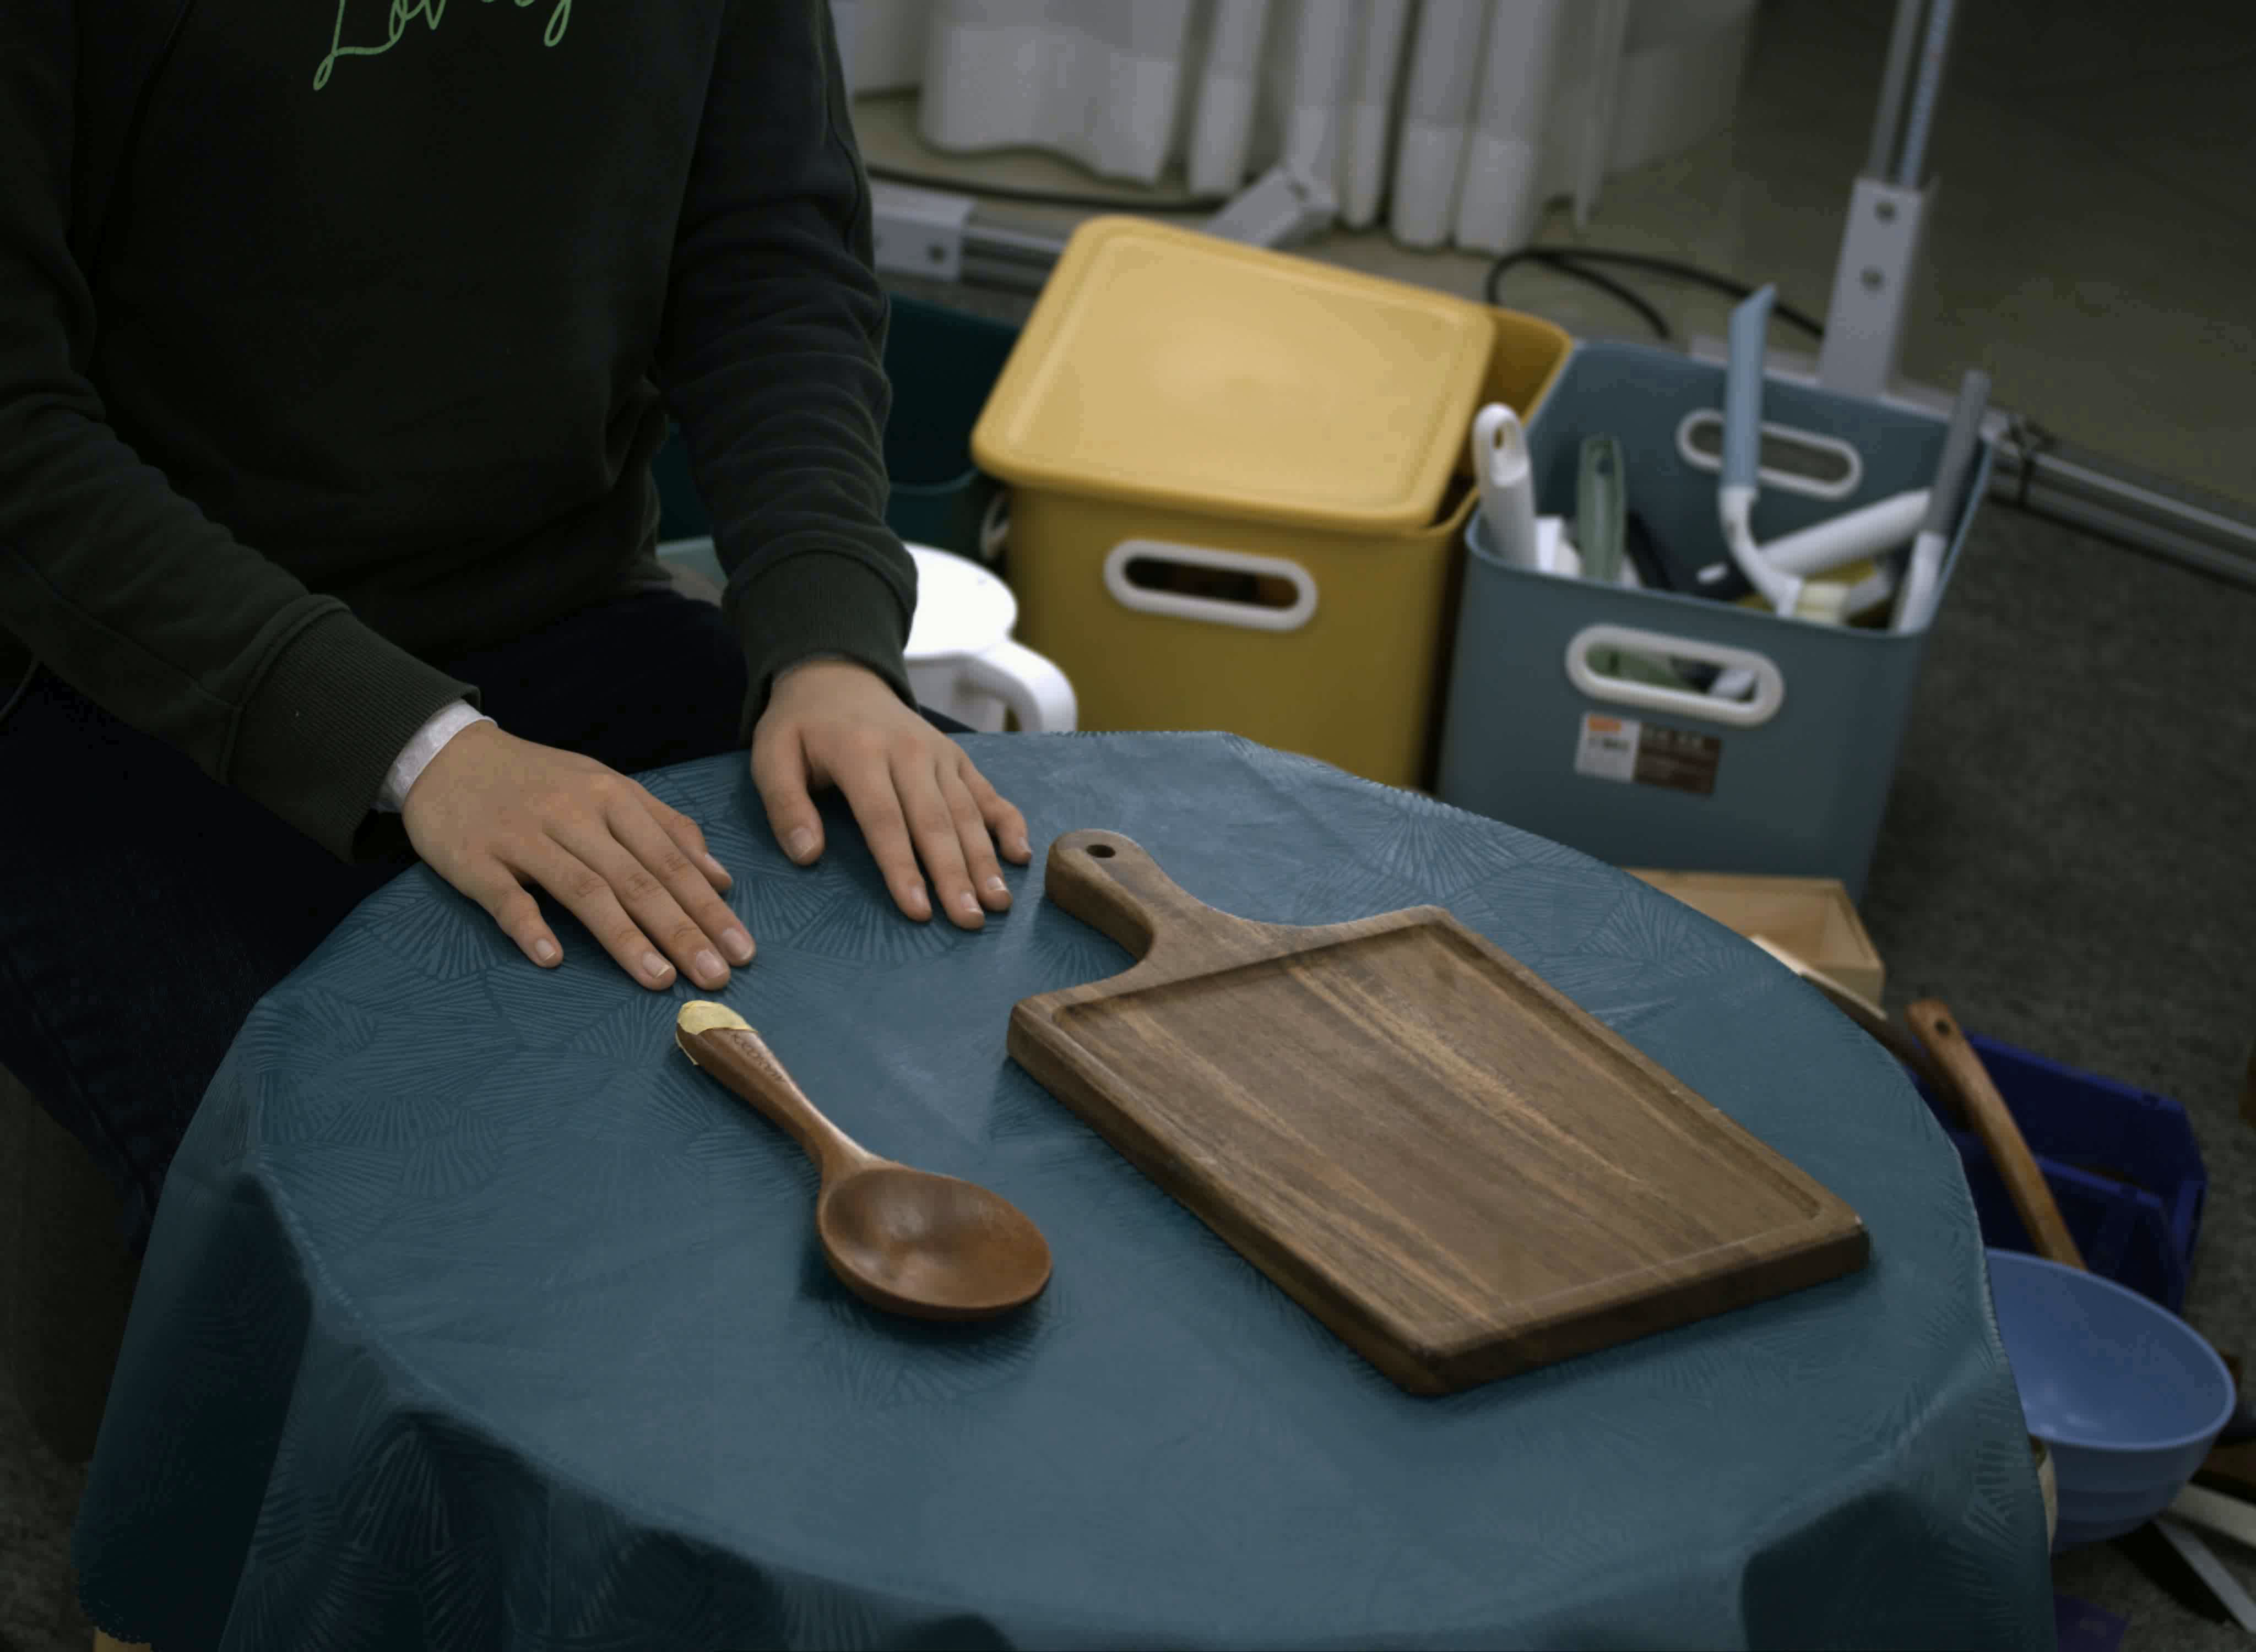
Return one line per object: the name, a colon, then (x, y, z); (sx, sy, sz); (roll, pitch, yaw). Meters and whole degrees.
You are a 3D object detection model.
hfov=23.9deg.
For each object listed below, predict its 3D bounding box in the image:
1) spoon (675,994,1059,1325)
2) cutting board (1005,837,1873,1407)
spoon: (-0.095, 0.112, 1.782); (0.075, 0.017, 0.218); (-12, 32, -29)
cutting board: (0.077, 0.087, 1.872); (0.200, 0.023, 0.355); (-13, 32, -32)
